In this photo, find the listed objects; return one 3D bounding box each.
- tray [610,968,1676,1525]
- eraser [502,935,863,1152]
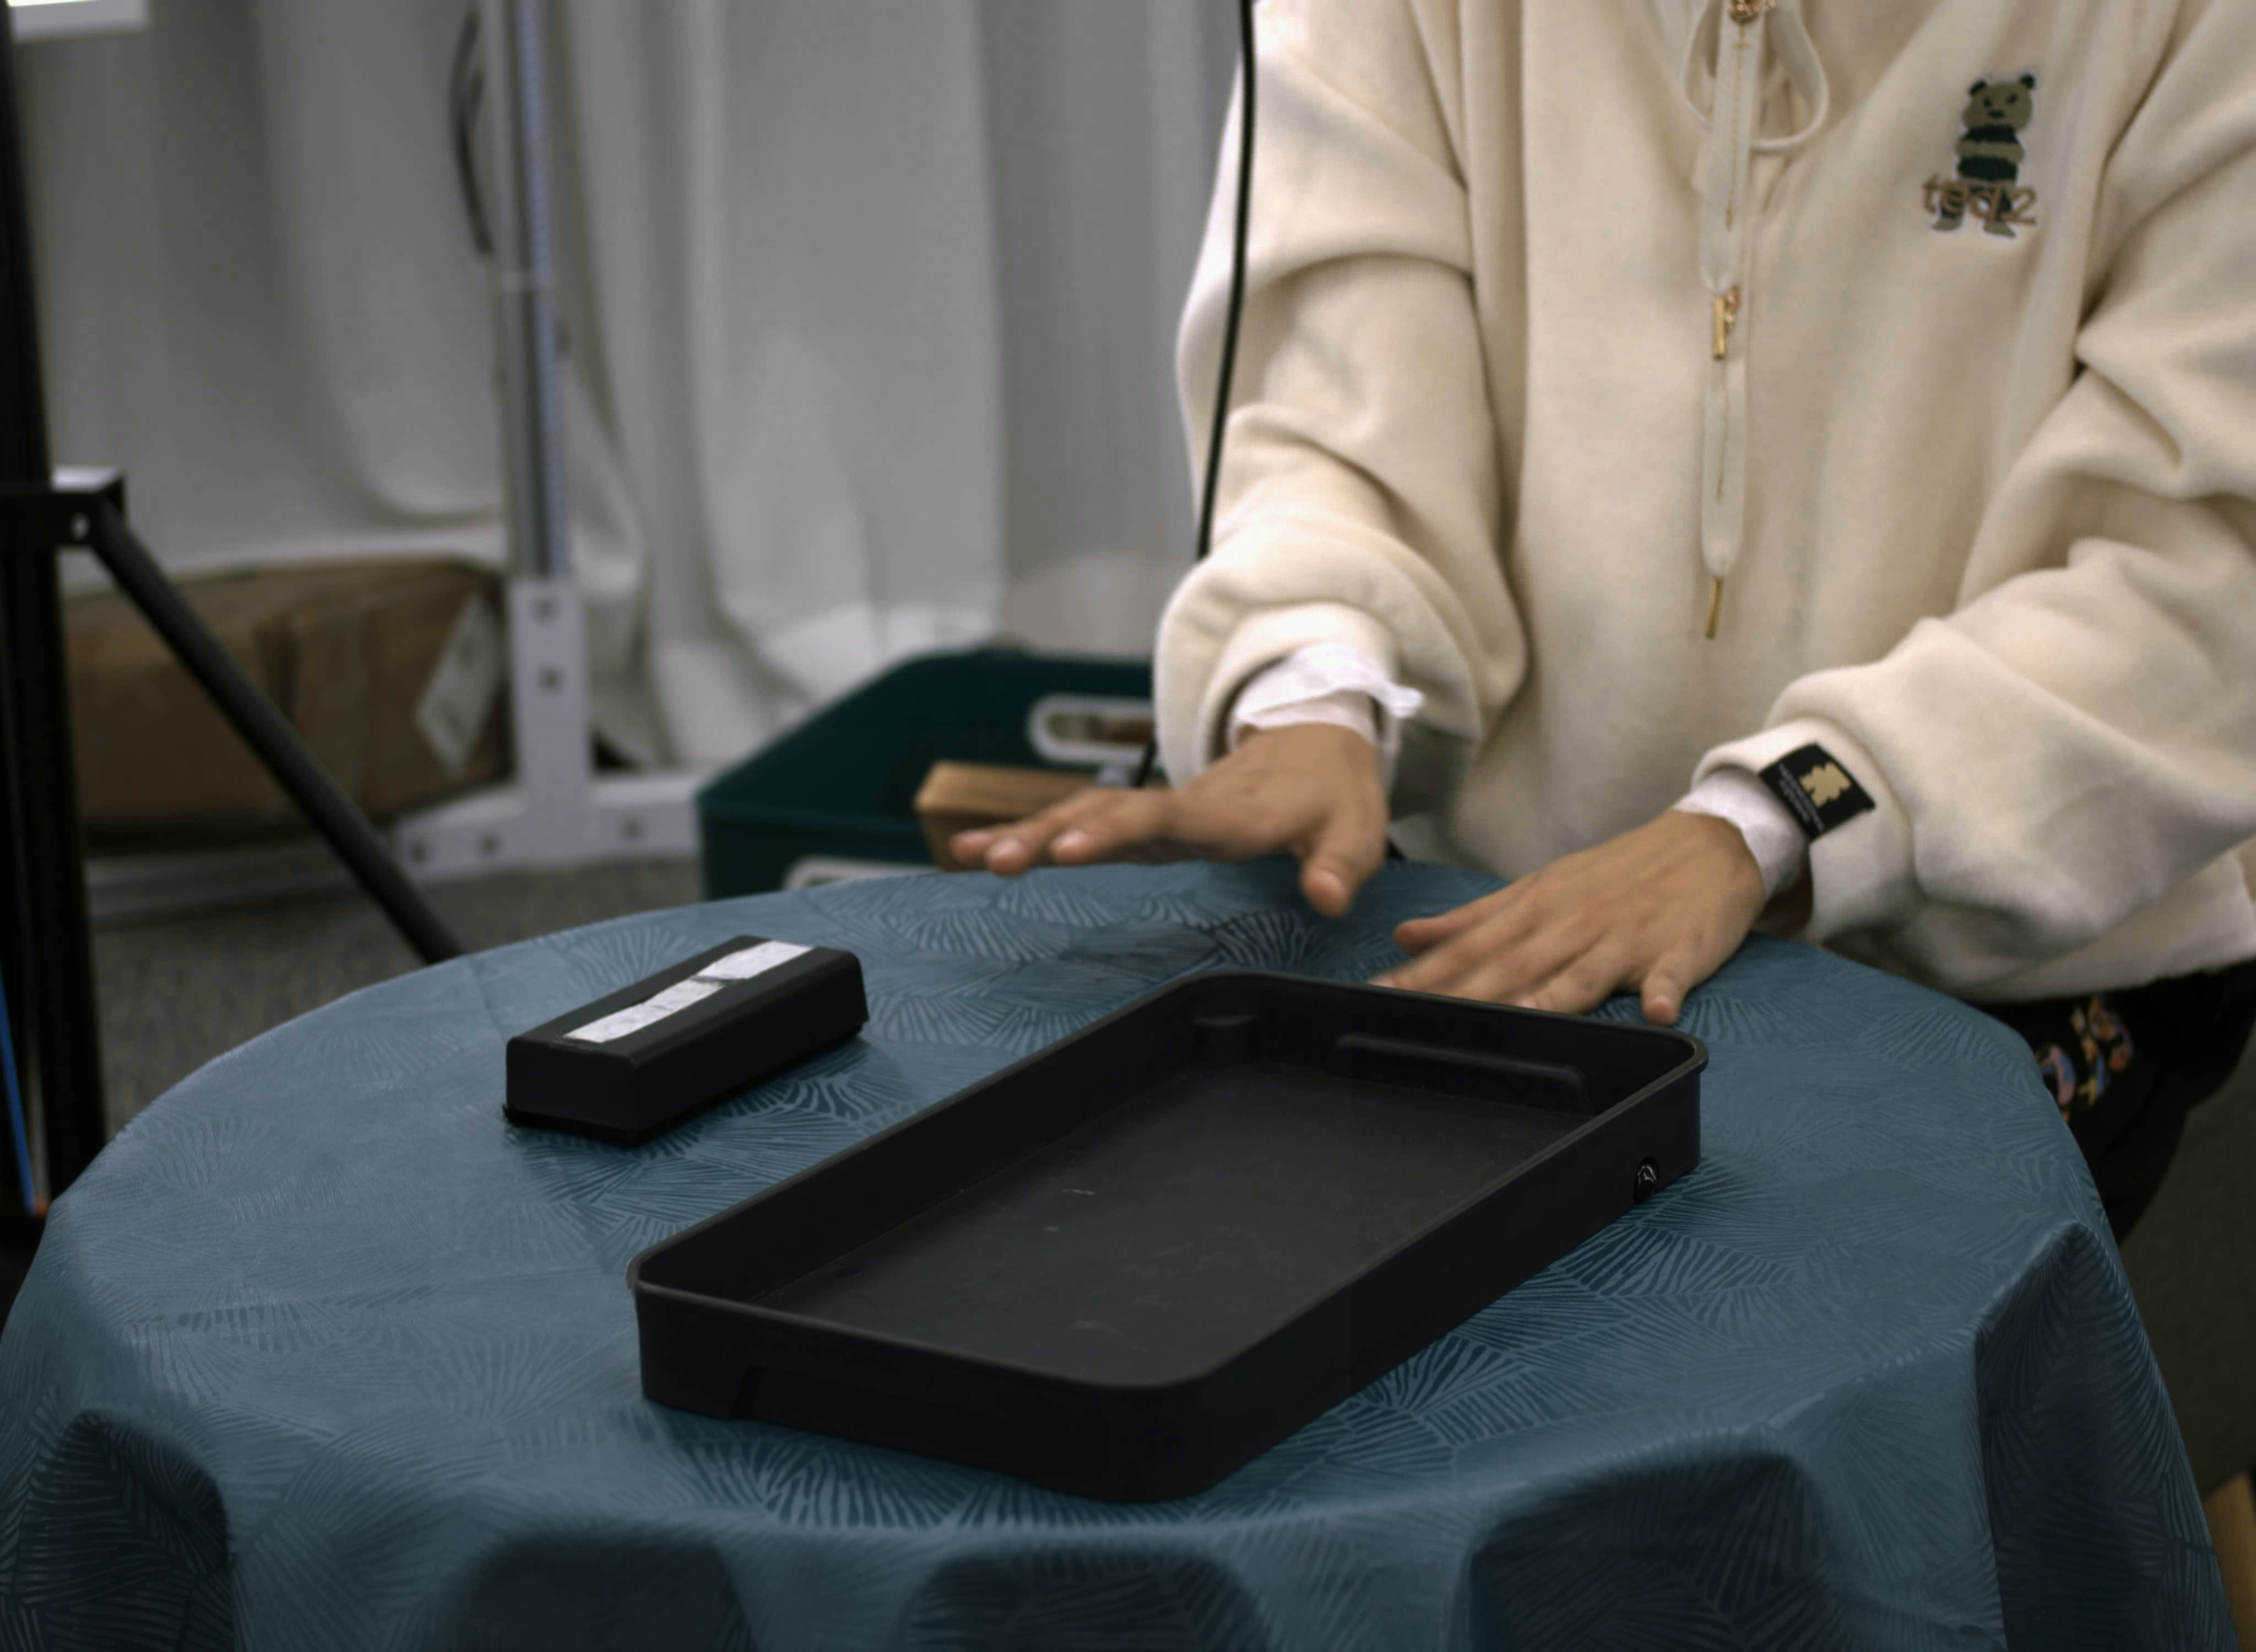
[{"bbox_3d":[0.013,0.109,1.481,0.187,0.037,0.312,7,19,30],"label":"tray"},{"bbox_3d":[-0.139,0.067,1.674,0.054,0.030,0.123,12,20,30],"label":"eraser"}]
